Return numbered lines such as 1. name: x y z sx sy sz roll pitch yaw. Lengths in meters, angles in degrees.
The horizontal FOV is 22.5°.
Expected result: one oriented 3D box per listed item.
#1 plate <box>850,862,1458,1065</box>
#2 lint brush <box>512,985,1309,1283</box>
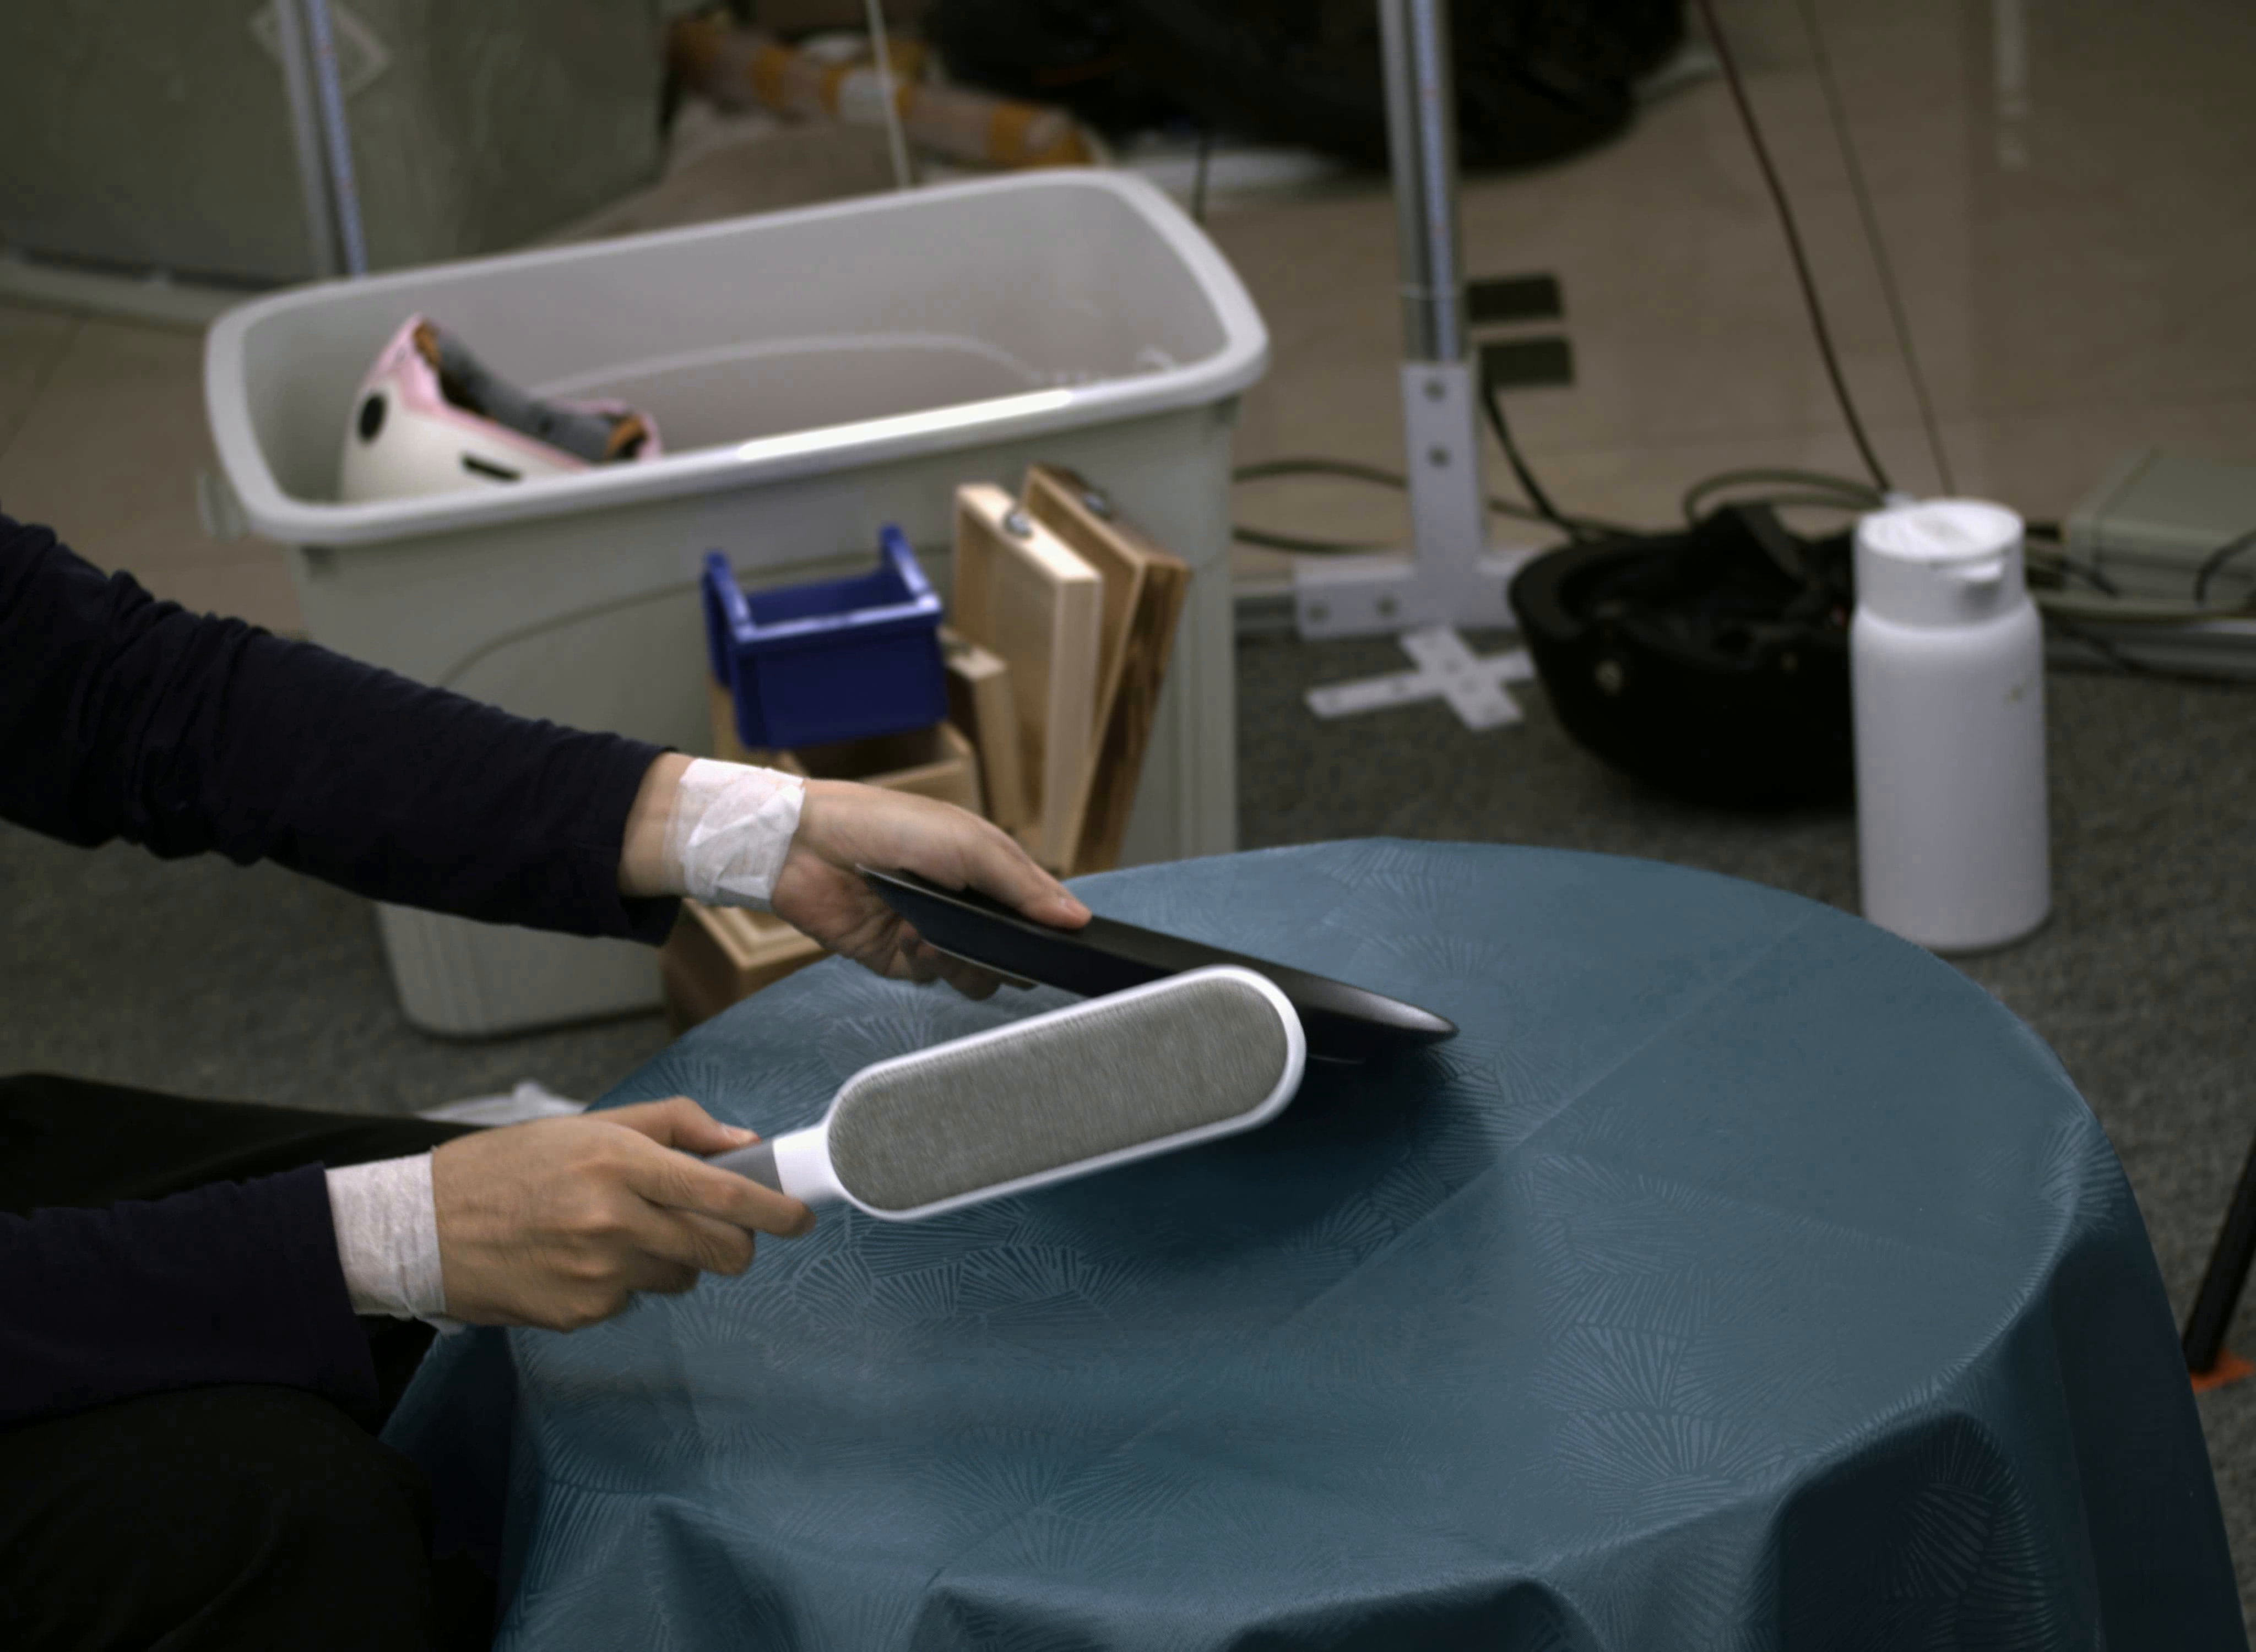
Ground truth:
1. plate: 0.008 0.057 2.191 0.244 0.023 0.244 16 3 -1
2. lint brush: -0.080 0.114 2.002 0.309 0.060 0.021 -16 0 18
